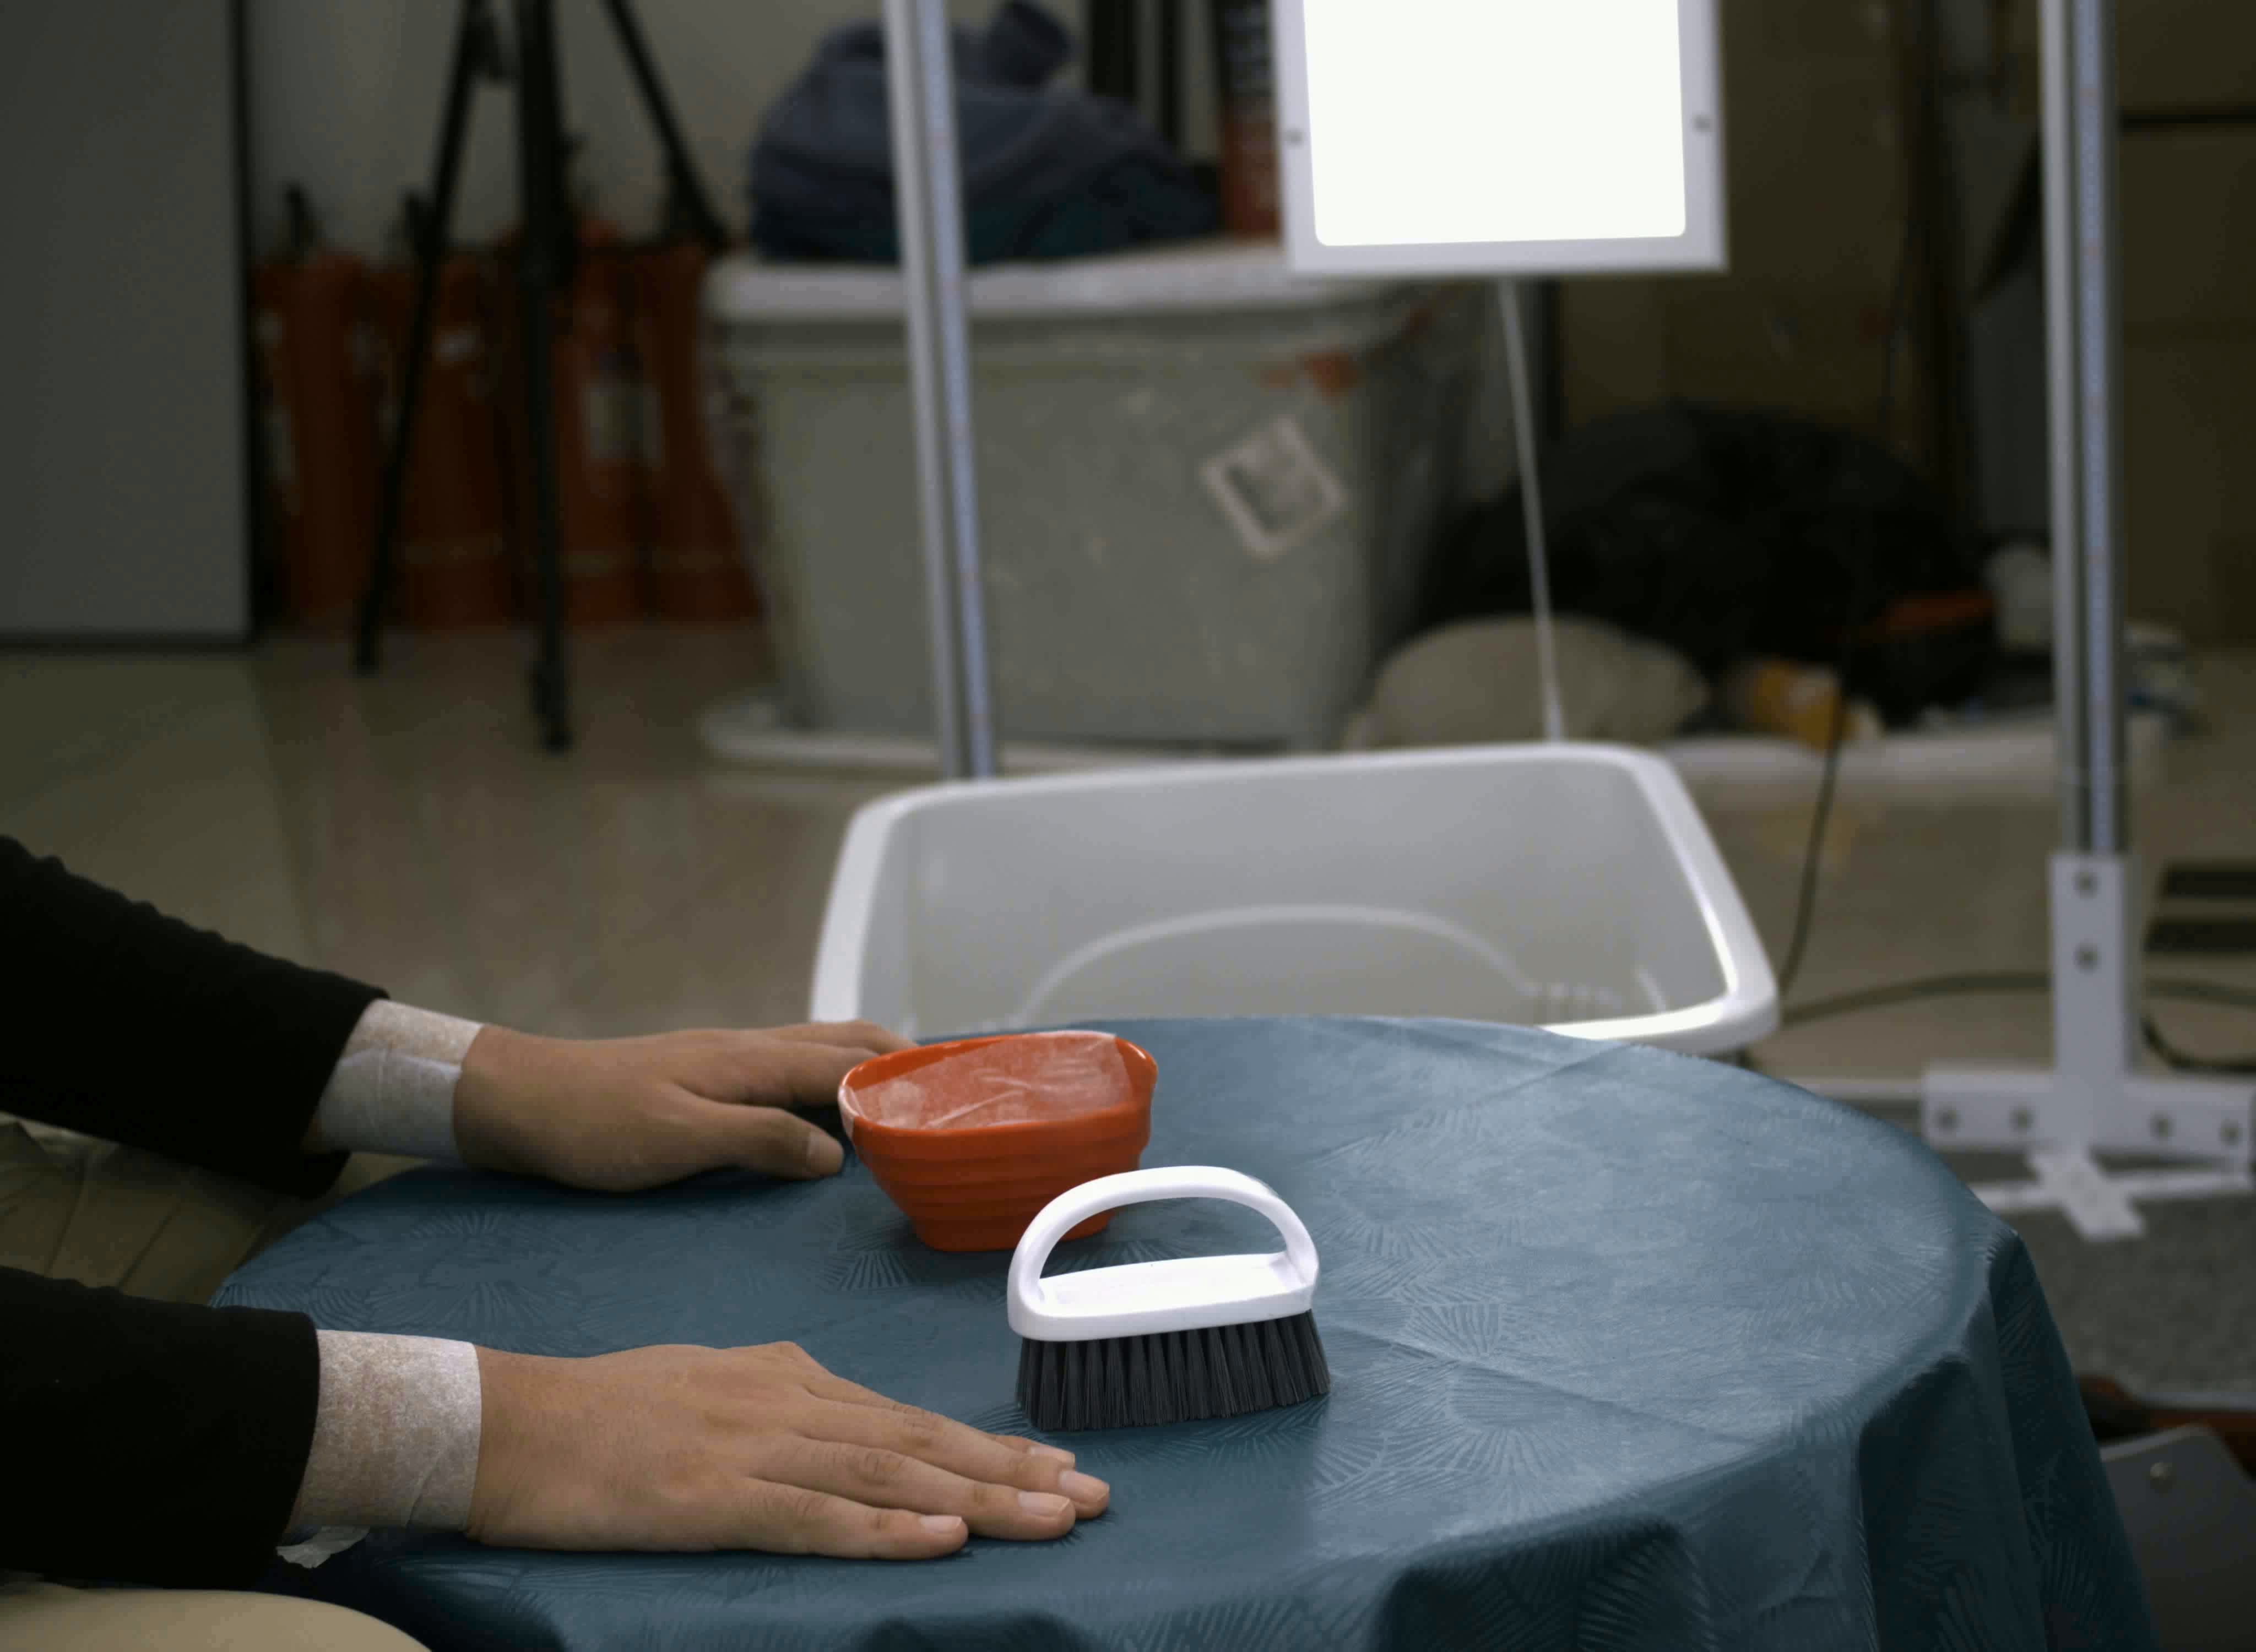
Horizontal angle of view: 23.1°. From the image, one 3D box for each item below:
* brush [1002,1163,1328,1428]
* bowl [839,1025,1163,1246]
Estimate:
[{"bbox_3d":[0.010,0.140,1.685,0.099,0.073,0.050,-6,14,-2],"label":"brush"},{"bbox_3d":[-0.043,0.108,1.875,0.118,0.051,0.119,-1,16,-1],"label":"bowl"}]
